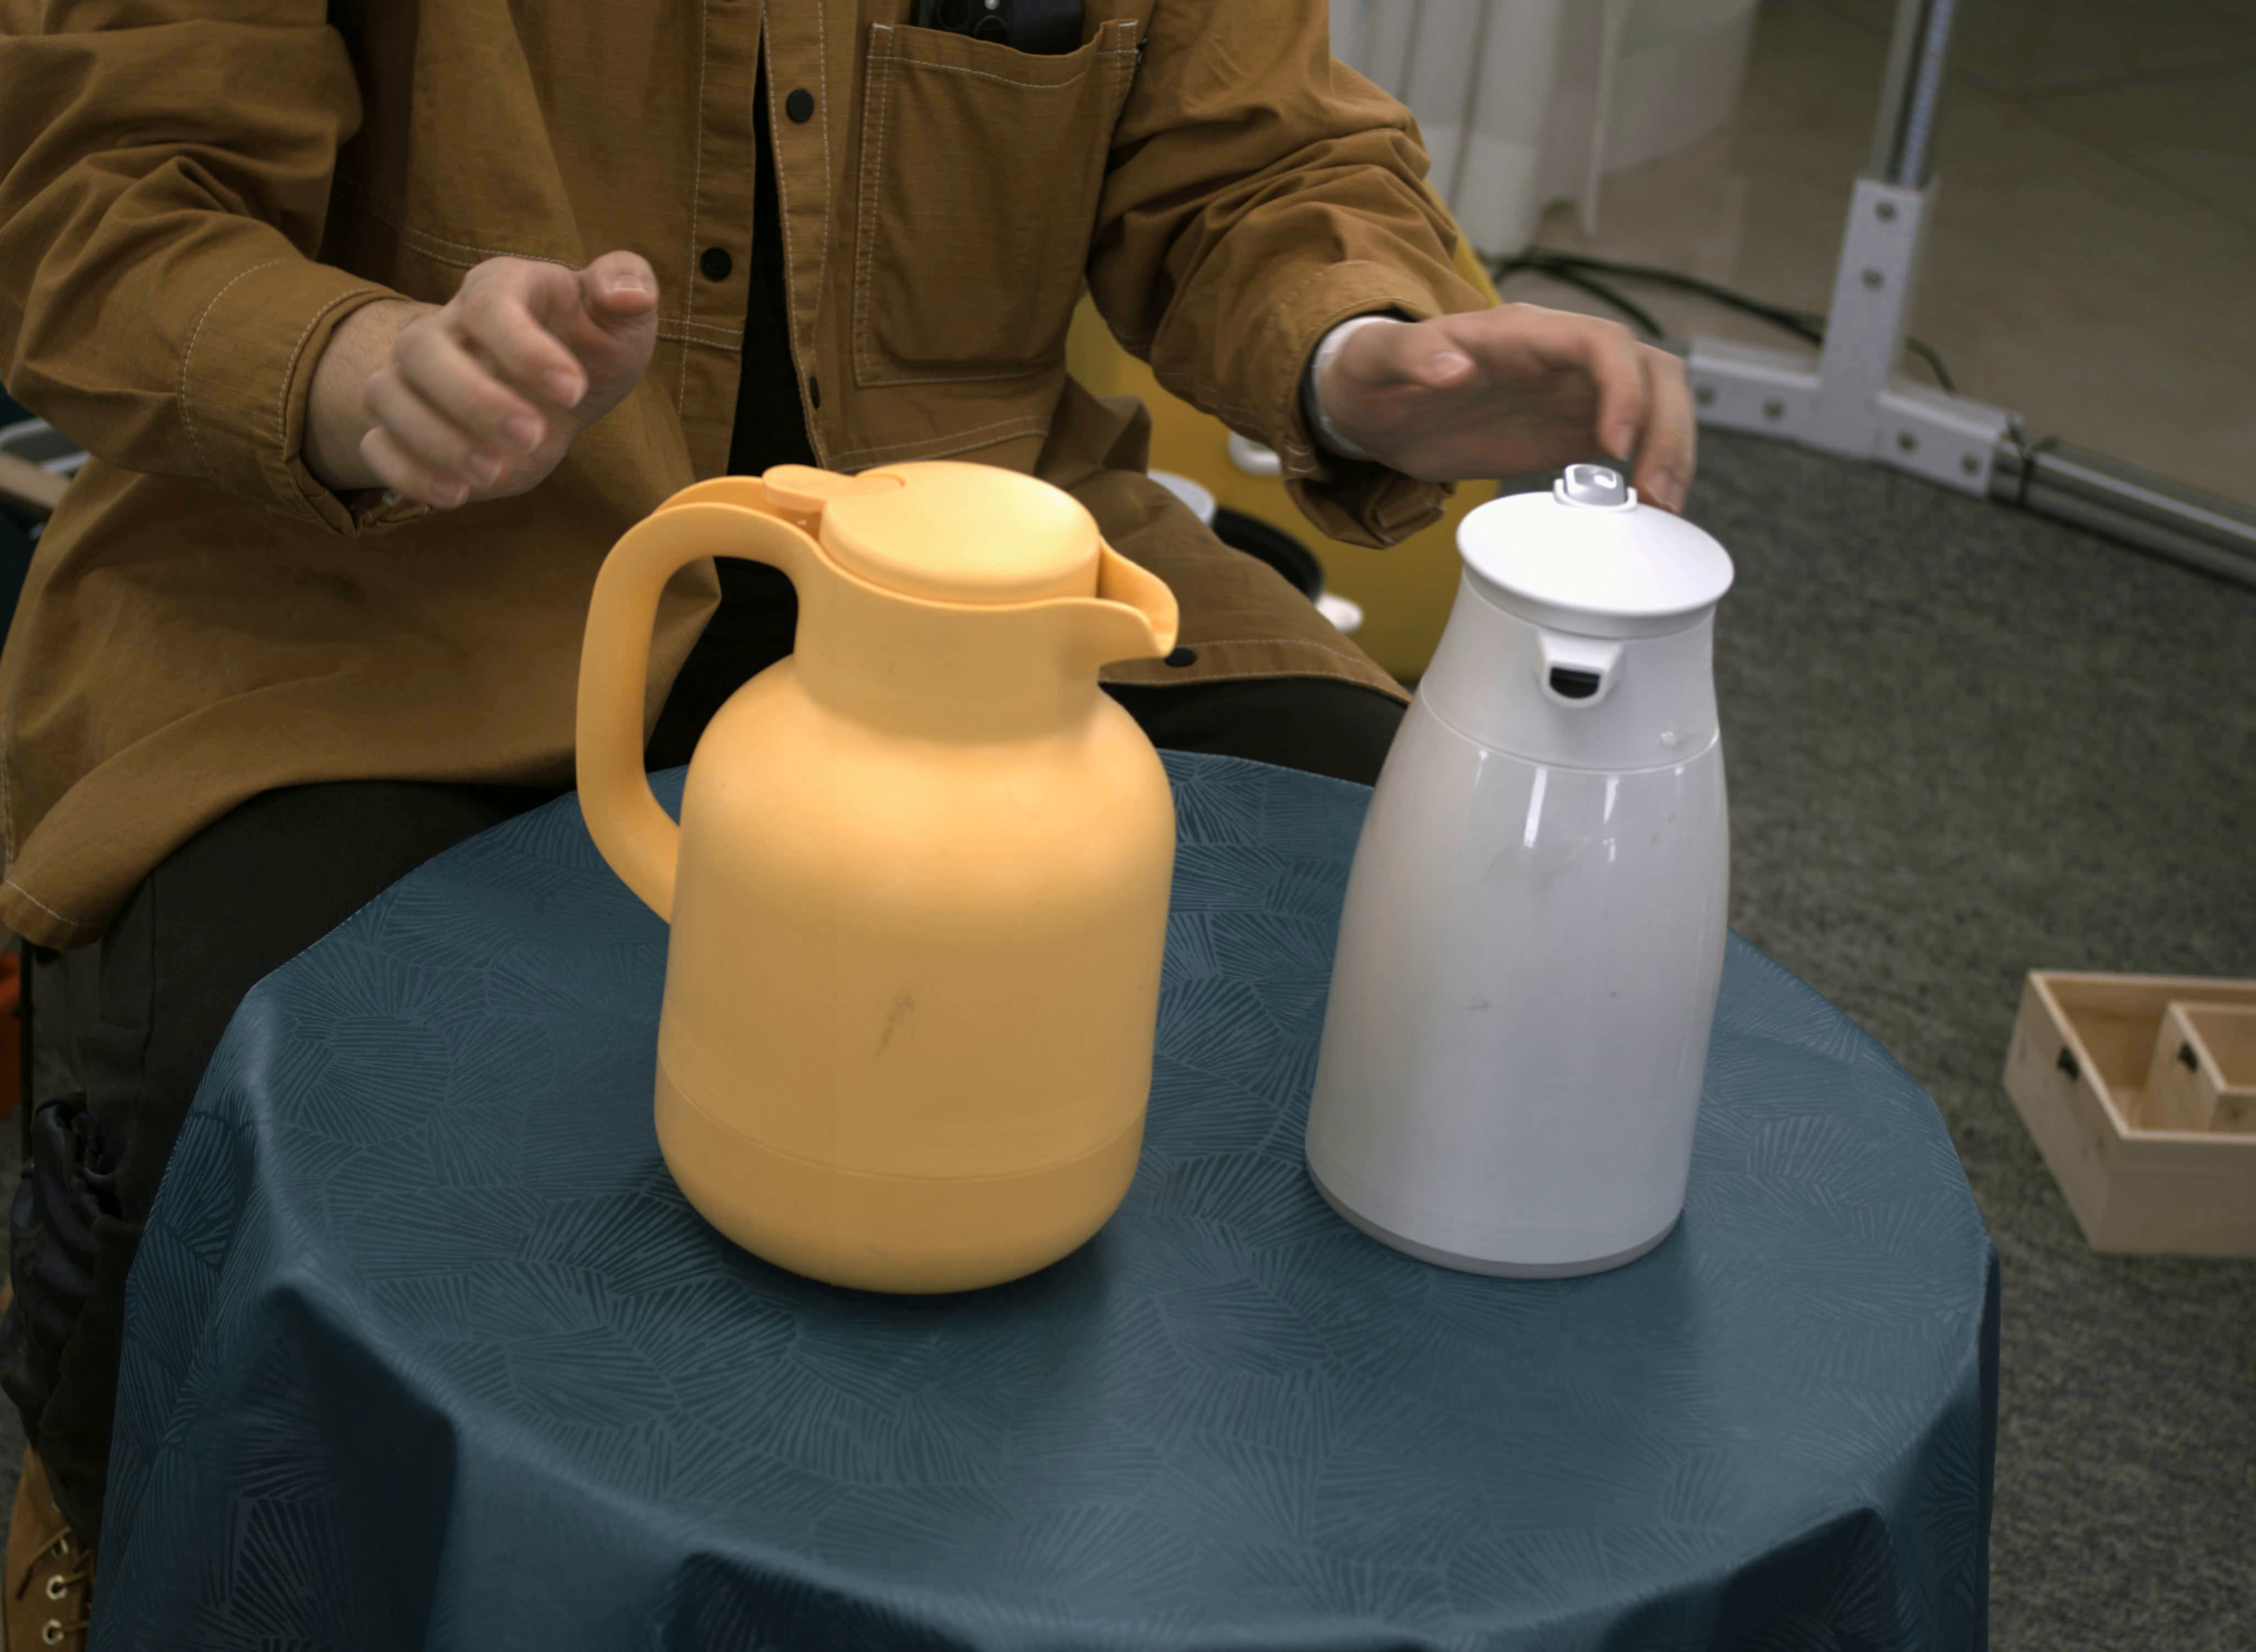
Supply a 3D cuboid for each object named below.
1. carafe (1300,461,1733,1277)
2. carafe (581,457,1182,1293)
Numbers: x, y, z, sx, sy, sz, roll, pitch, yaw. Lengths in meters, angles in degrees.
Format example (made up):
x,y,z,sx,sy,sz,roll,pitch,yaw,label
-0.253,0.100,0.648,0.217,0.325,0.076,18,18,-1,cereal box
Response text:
x,y,z,sx,sy,sz,roll,pitch,yaw,label
0.139,0.003,1.800,0.132,0.248,0.168,9,26,4,carafe
-0.084,0.005,1.733,0.203,0.260,0.163,17,26,18,carafe
